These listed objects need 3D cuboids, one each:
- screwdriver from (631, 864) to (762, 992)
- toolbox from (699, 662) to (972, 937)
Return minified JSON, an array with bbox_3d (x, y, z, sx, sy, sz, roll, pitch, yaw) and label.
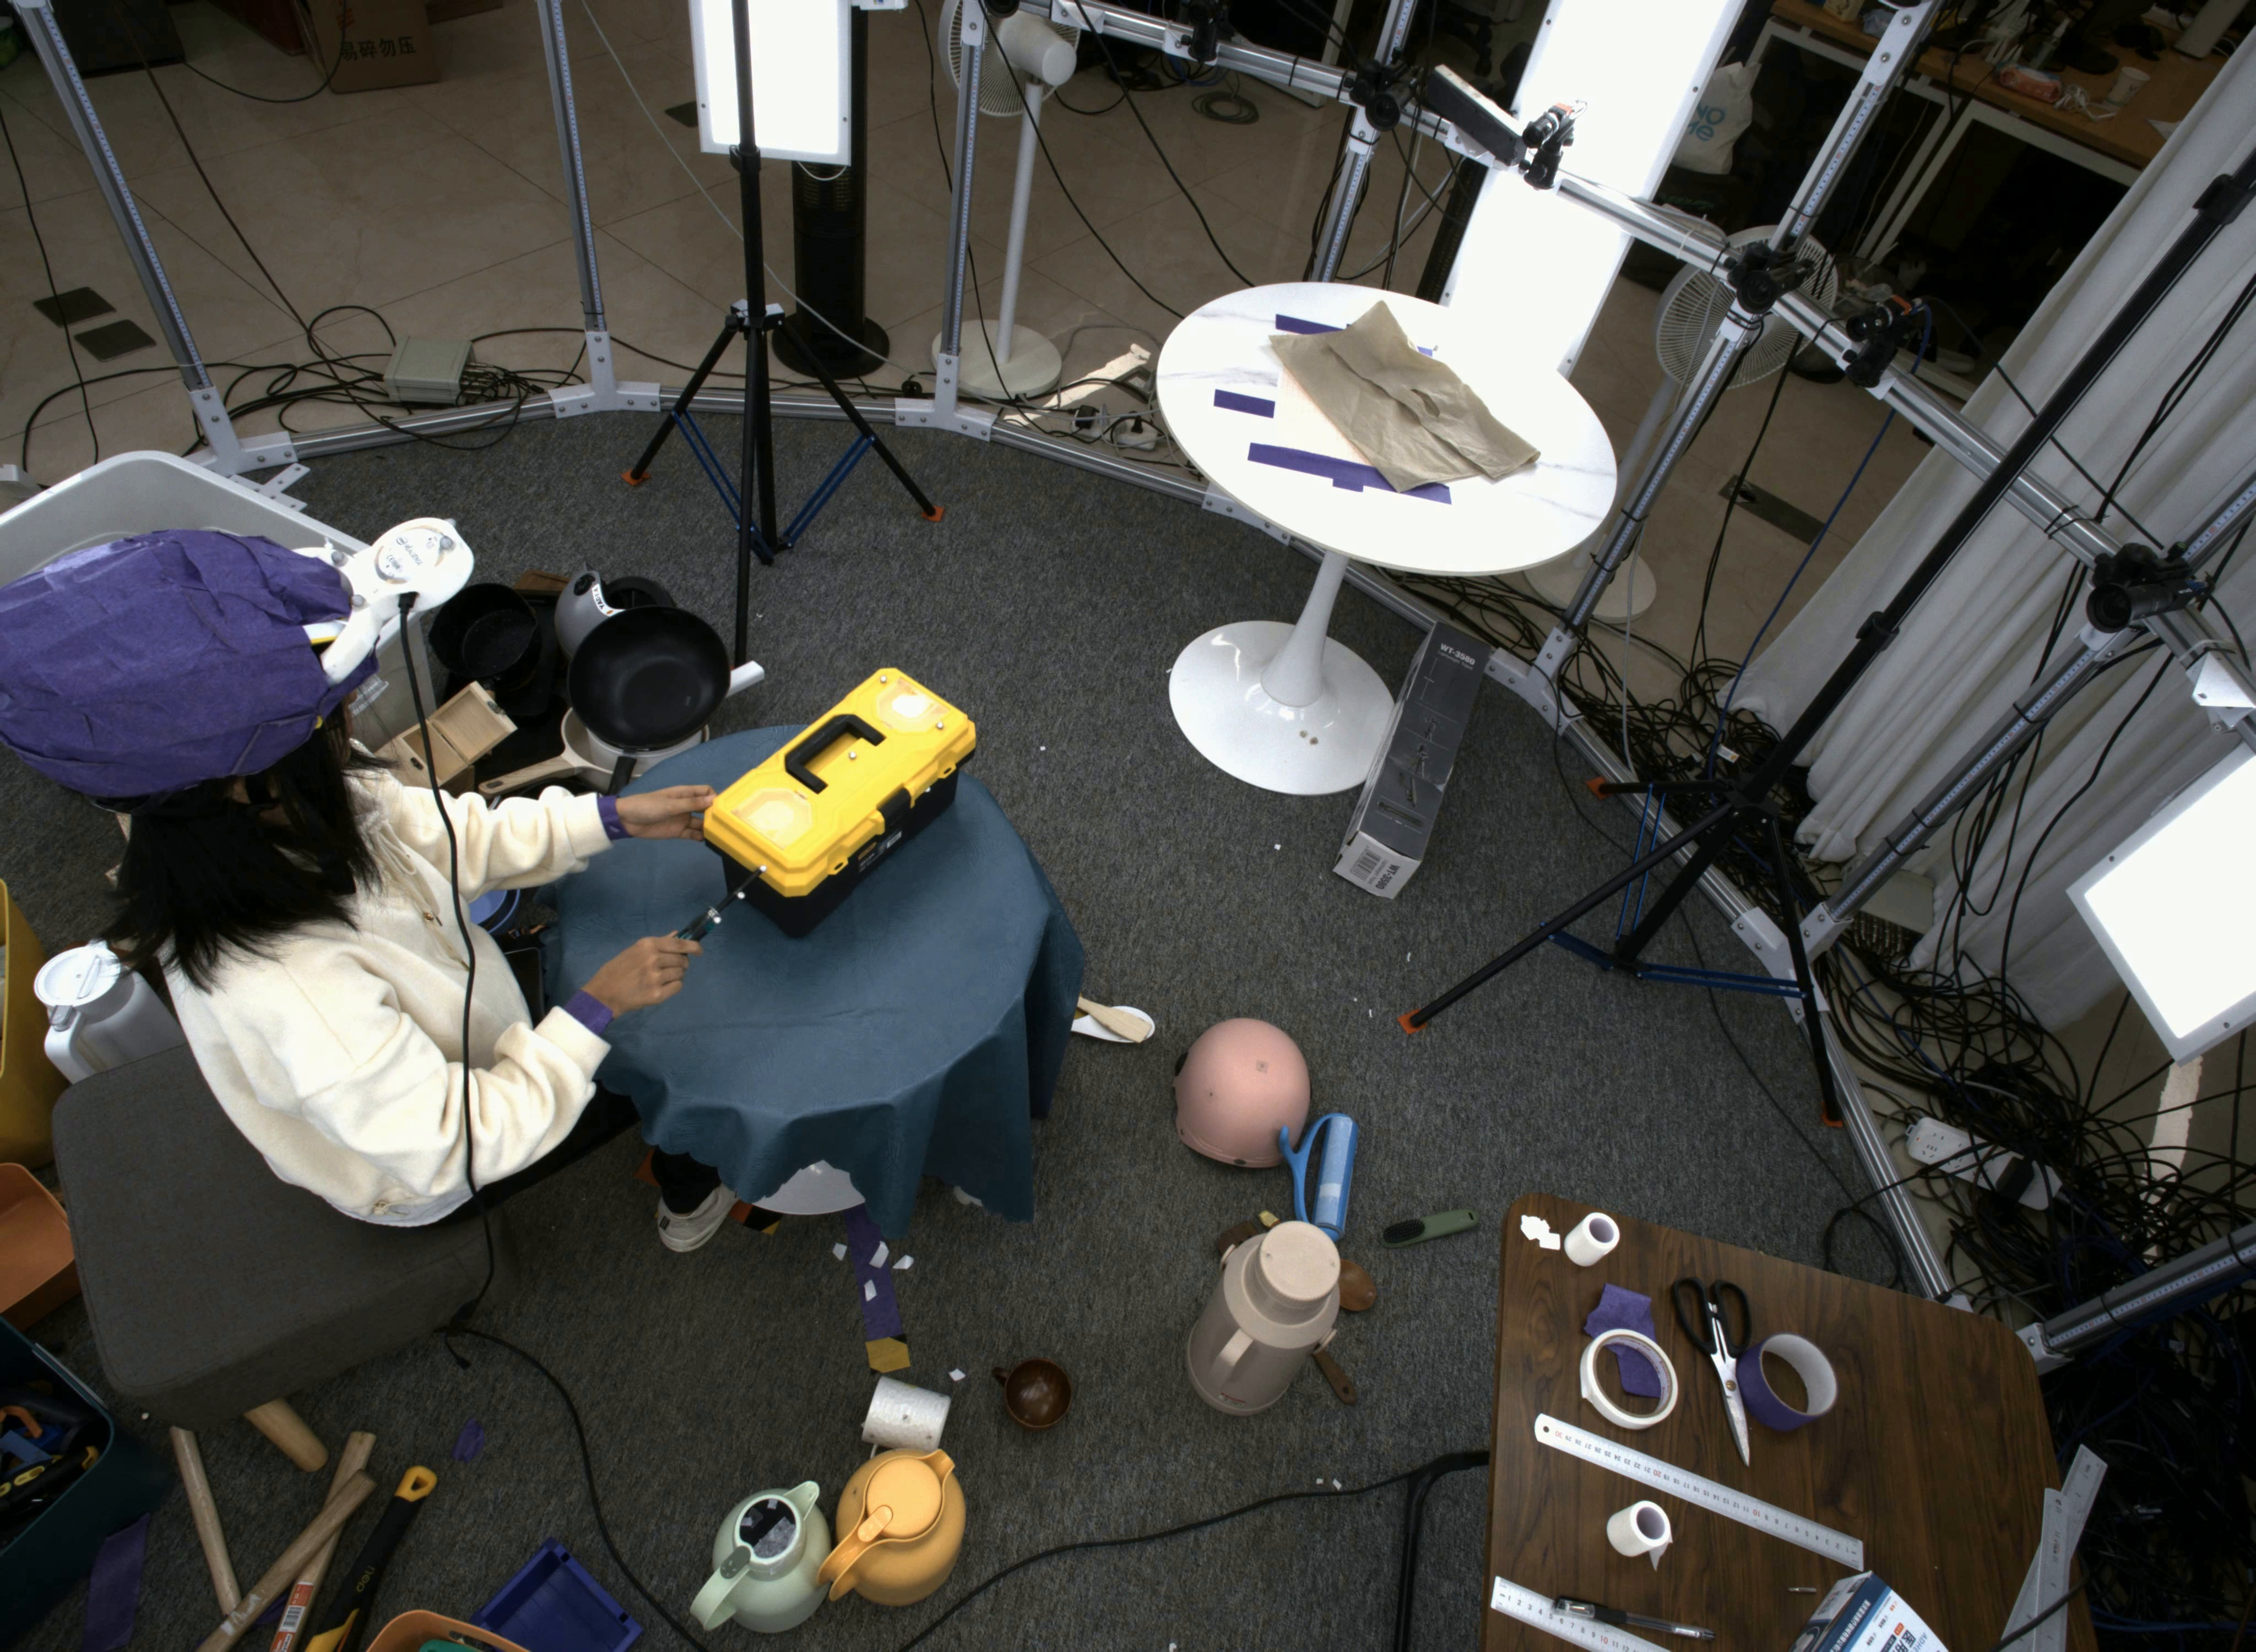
[{"bbox_3d":[-0.476,0.107,1.435,0.033,0.034,0.190,35,64,15],"label":"screwdriver"},{"bbox_3d":[-0.362,-0.035,1.649,0.178,0.176,0.351,33,53,13],"label":"toolbox"}]
